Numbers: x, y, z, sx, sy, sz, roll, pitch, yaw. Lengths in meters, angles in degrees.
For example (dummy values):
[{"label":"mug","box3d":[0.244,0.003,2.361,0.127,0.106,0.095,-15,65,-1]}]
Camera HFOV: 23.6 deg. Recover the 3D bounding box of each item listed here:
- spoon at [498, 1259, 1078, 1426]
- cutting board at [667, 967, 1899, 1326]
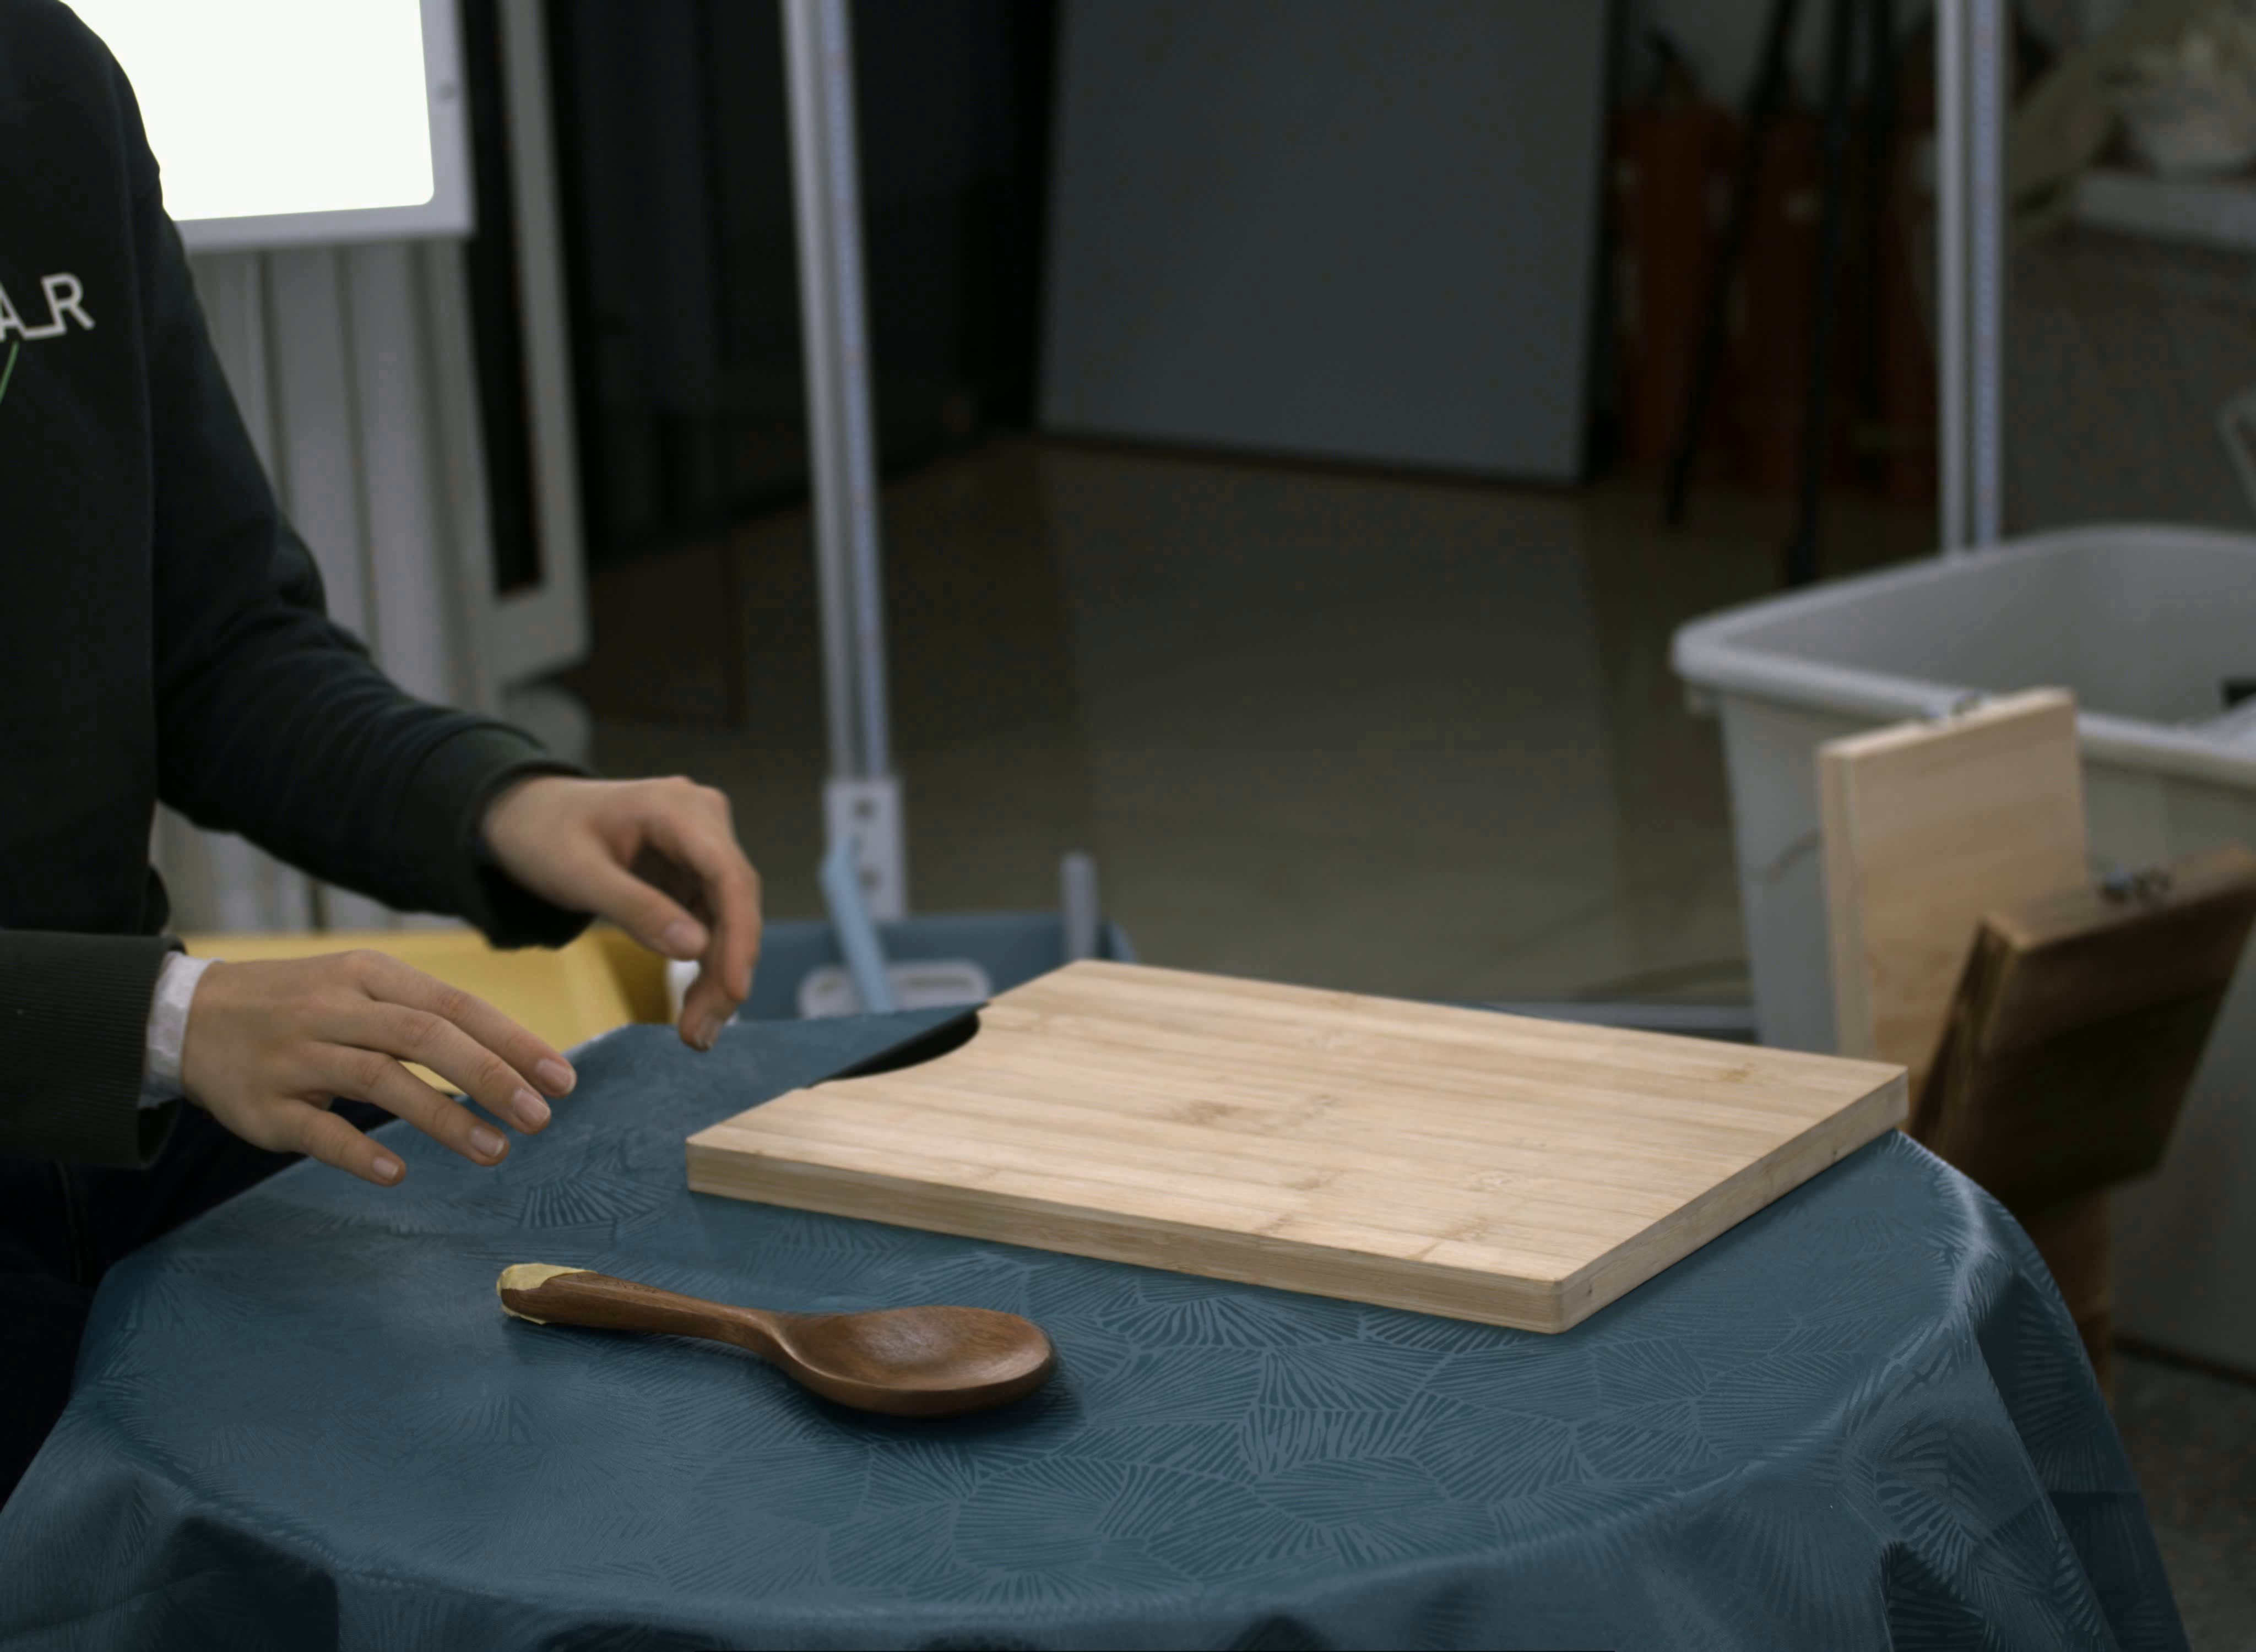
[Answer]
[{"label":"spoon","box3d":[-0.107,0.154,1.631,0.217,0.017,0.074,7,20,37]},{"label":"cutting board","box3d":[0.052,0.102,1.801,0.350,0.024,0.246,5,16,34]}]
